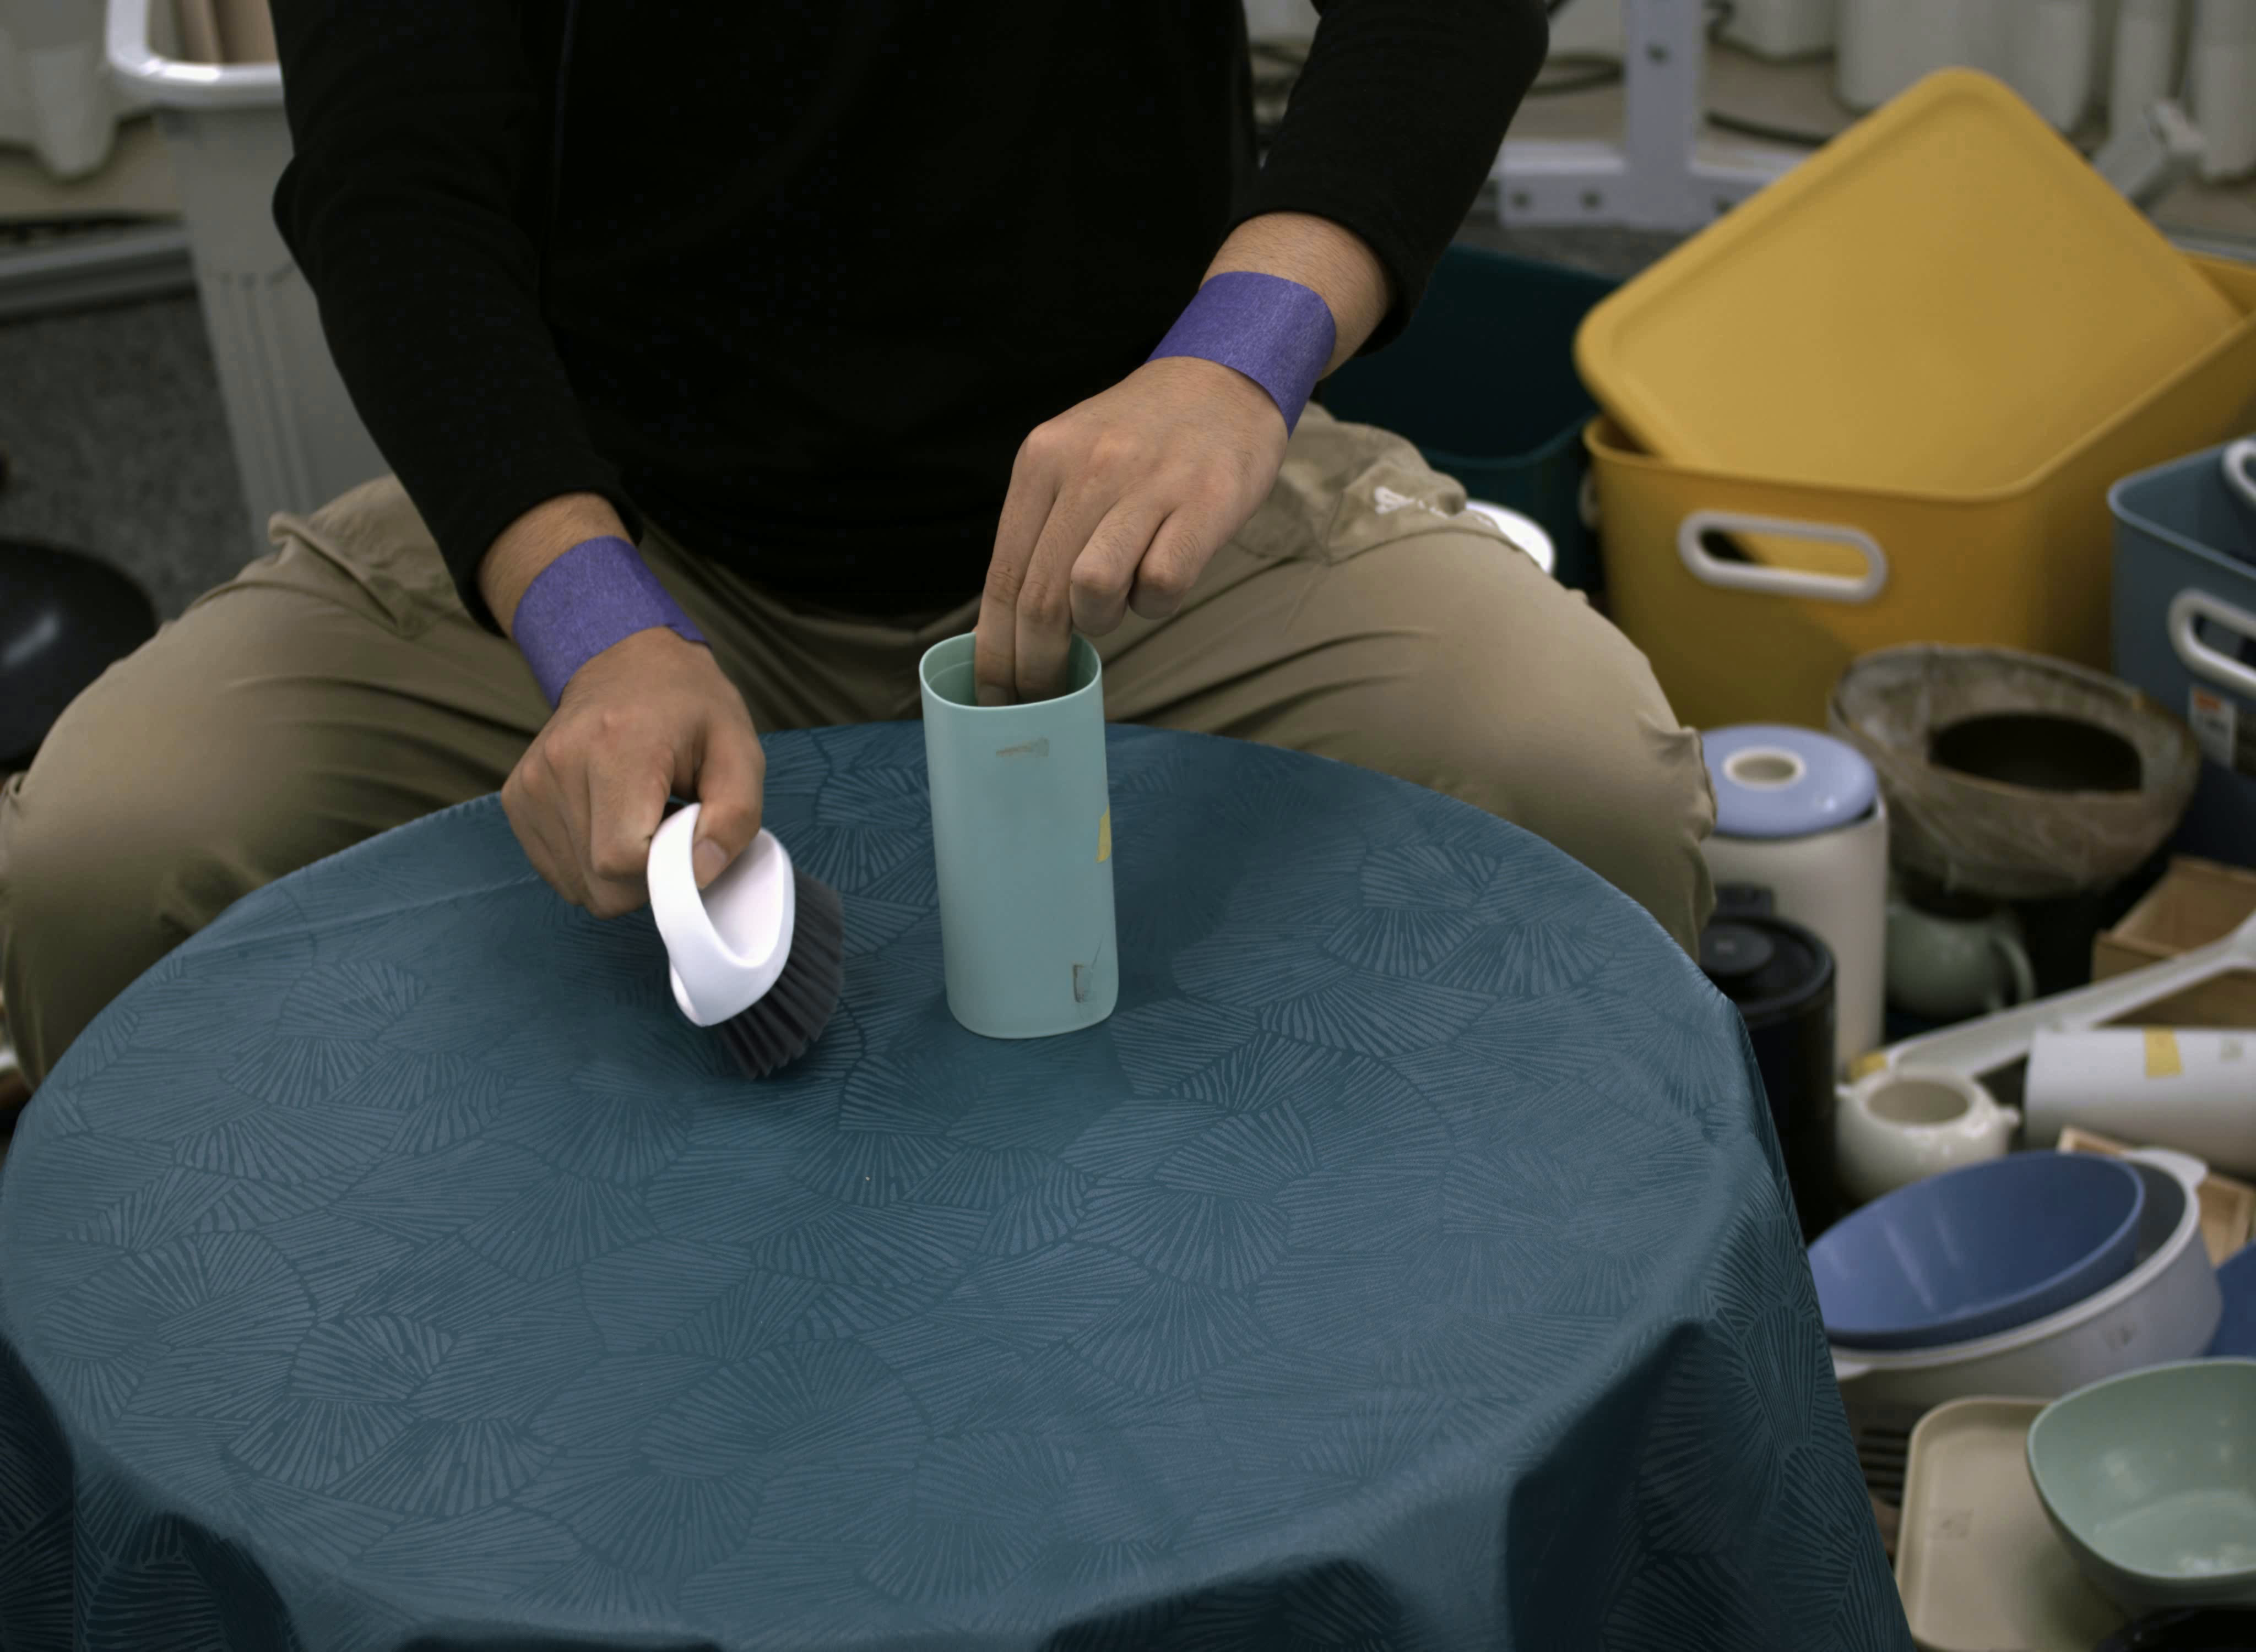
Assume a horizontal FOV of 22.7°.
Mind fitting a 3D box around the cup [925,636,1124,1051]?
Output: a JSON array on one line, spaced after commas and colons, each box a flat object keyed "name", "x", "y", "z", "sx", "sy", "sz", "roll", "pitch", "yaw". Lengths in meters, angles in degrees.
[{"name": "cup", "x": -0.037, "y": 0.006, "z": 1.956, "sx": 0.066, "sy": 0.131, "sz": 0.068, "roll": -3, "pitch": 27, "yaw": 2}]

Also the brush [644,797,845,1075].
[{"name": "brush", "x": -0.140, "y": 0.031, "z": 1.958, "sx": 0.050, "sy": 0.072, "sz": 0.101, "roll": -32, "pitch": 29, "yaw": 19}]
